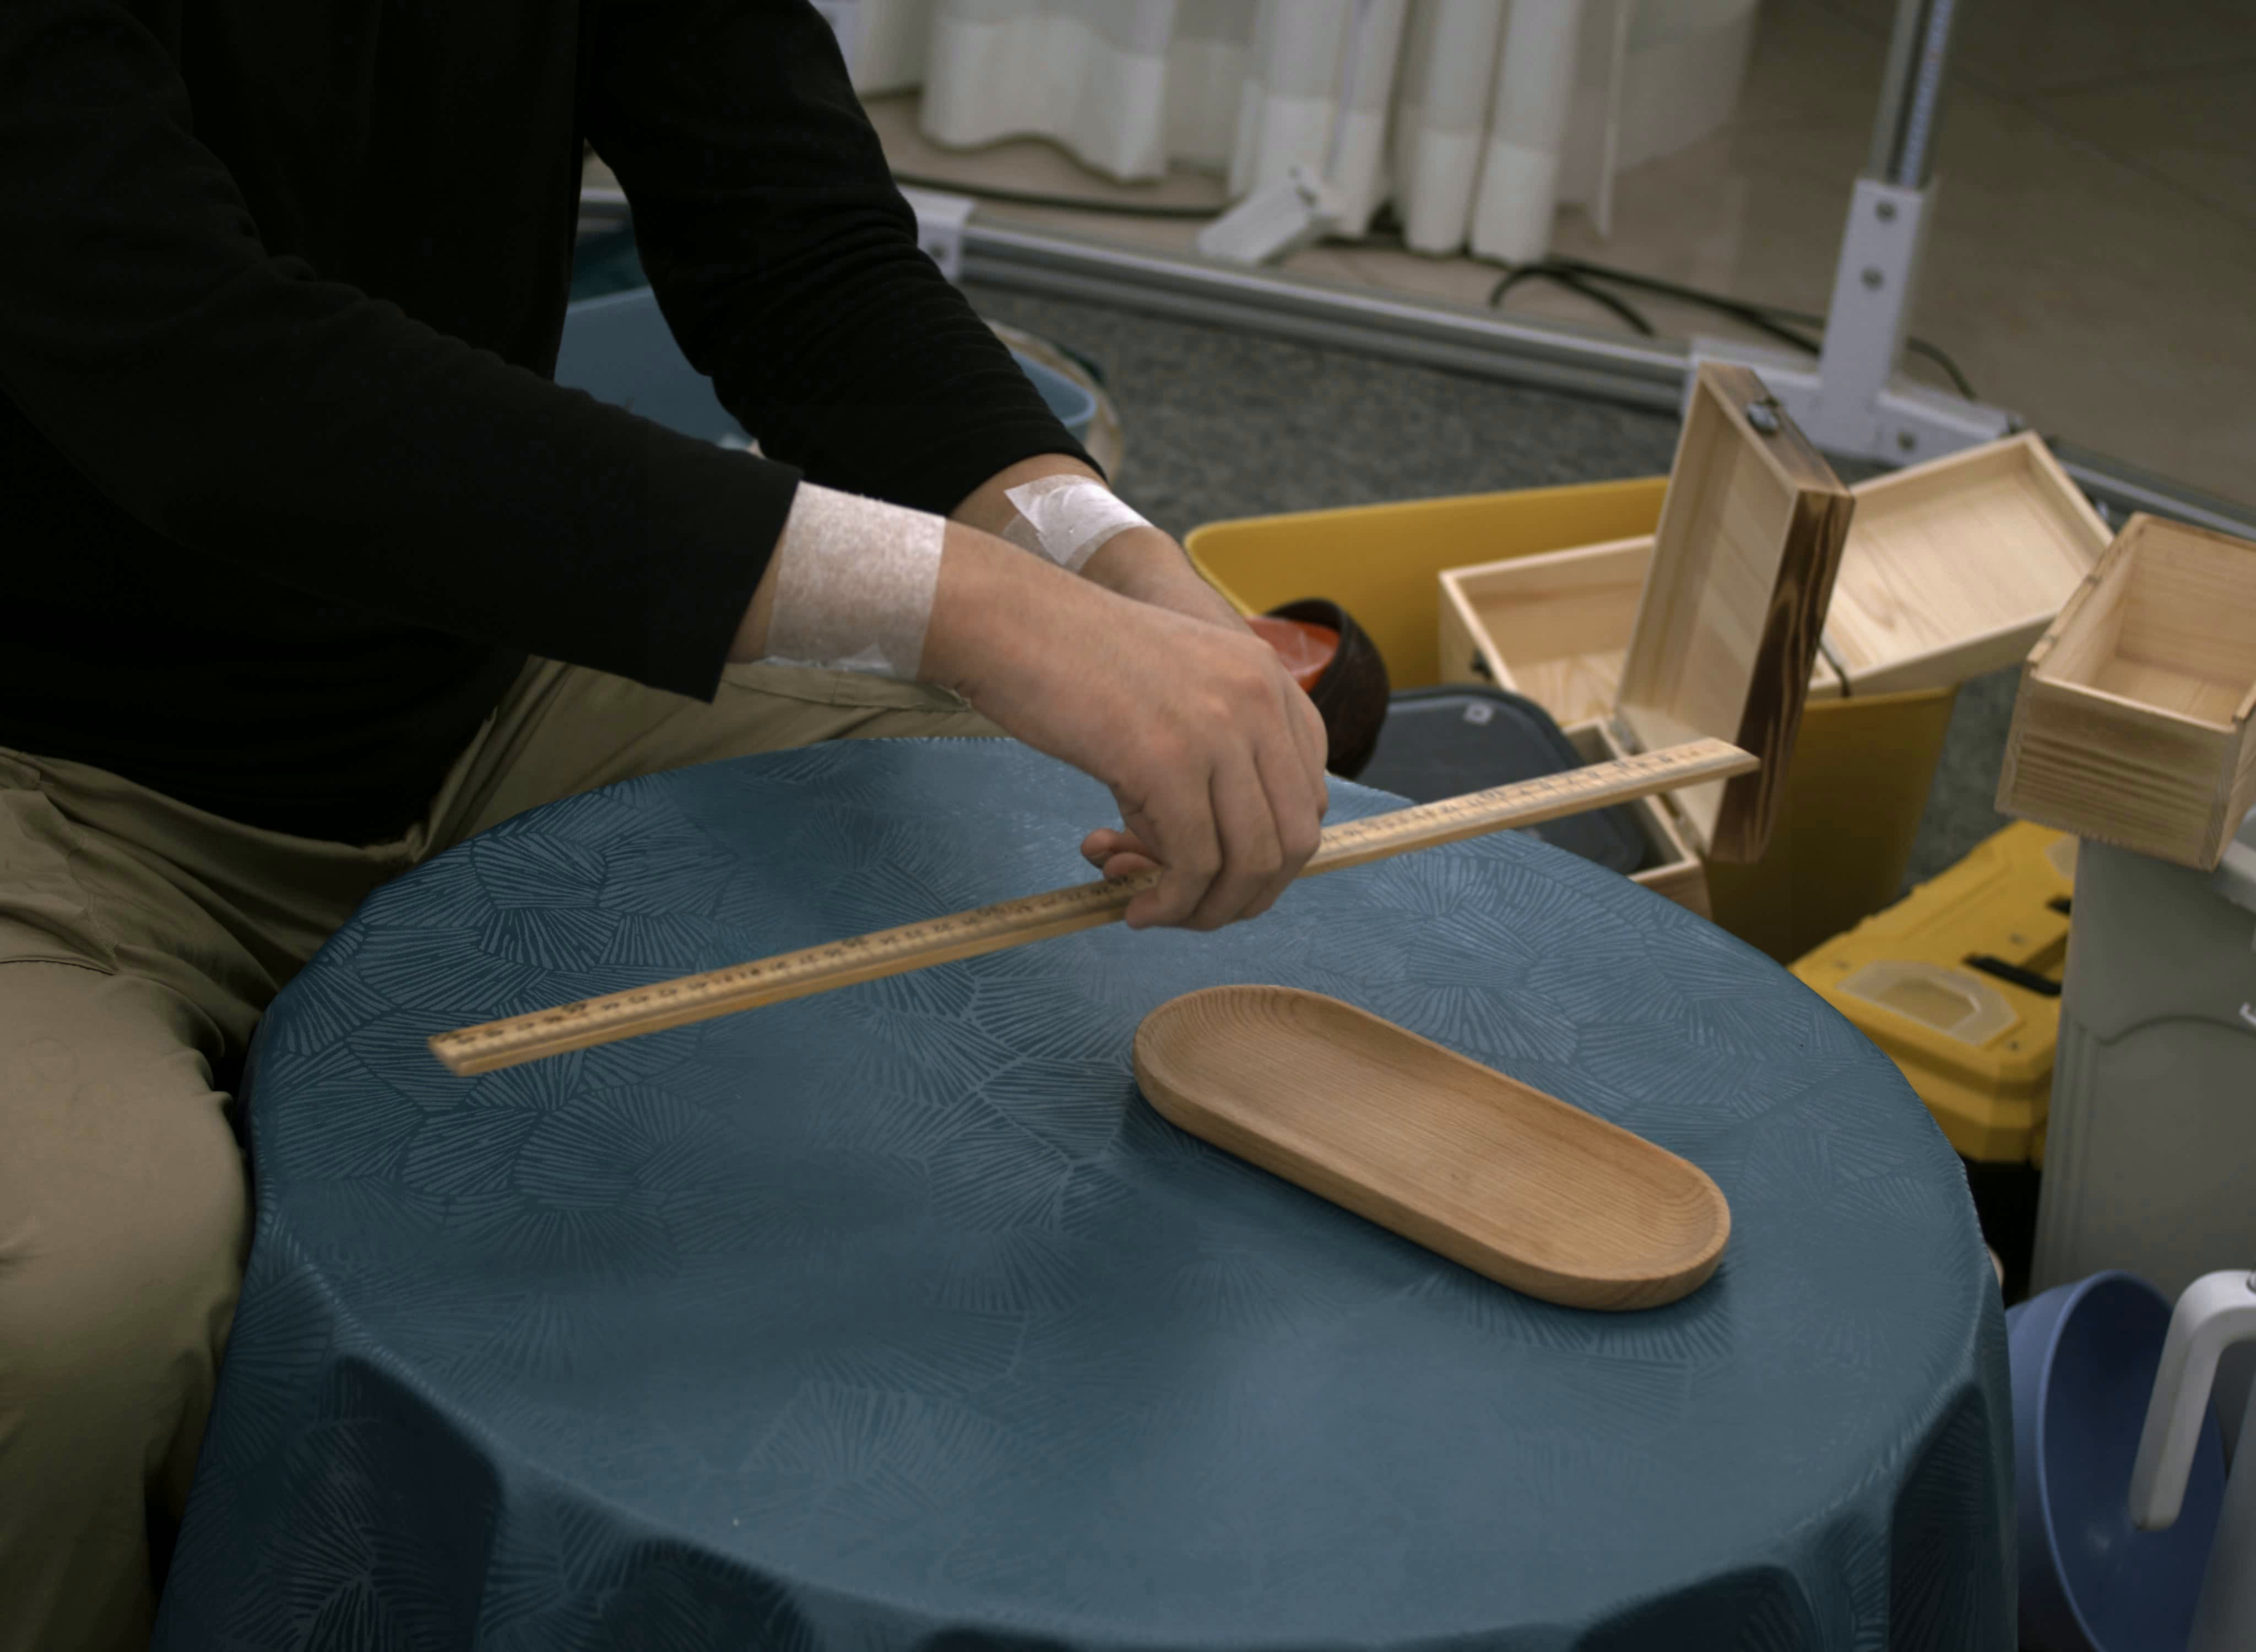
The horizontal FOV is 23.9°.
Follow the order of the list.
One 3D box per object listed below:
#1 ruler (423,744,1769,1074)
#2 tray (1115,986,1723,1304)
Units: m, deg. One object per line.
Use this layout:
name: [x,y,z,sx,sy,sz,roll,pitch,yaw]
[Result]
ruler: [0.001,0.023,1.761,0.497,0.006,0.027,-12,22,-26]
tray: [0.098,0.109,1.834,0.232,0.020,0.101,22,29,30]
